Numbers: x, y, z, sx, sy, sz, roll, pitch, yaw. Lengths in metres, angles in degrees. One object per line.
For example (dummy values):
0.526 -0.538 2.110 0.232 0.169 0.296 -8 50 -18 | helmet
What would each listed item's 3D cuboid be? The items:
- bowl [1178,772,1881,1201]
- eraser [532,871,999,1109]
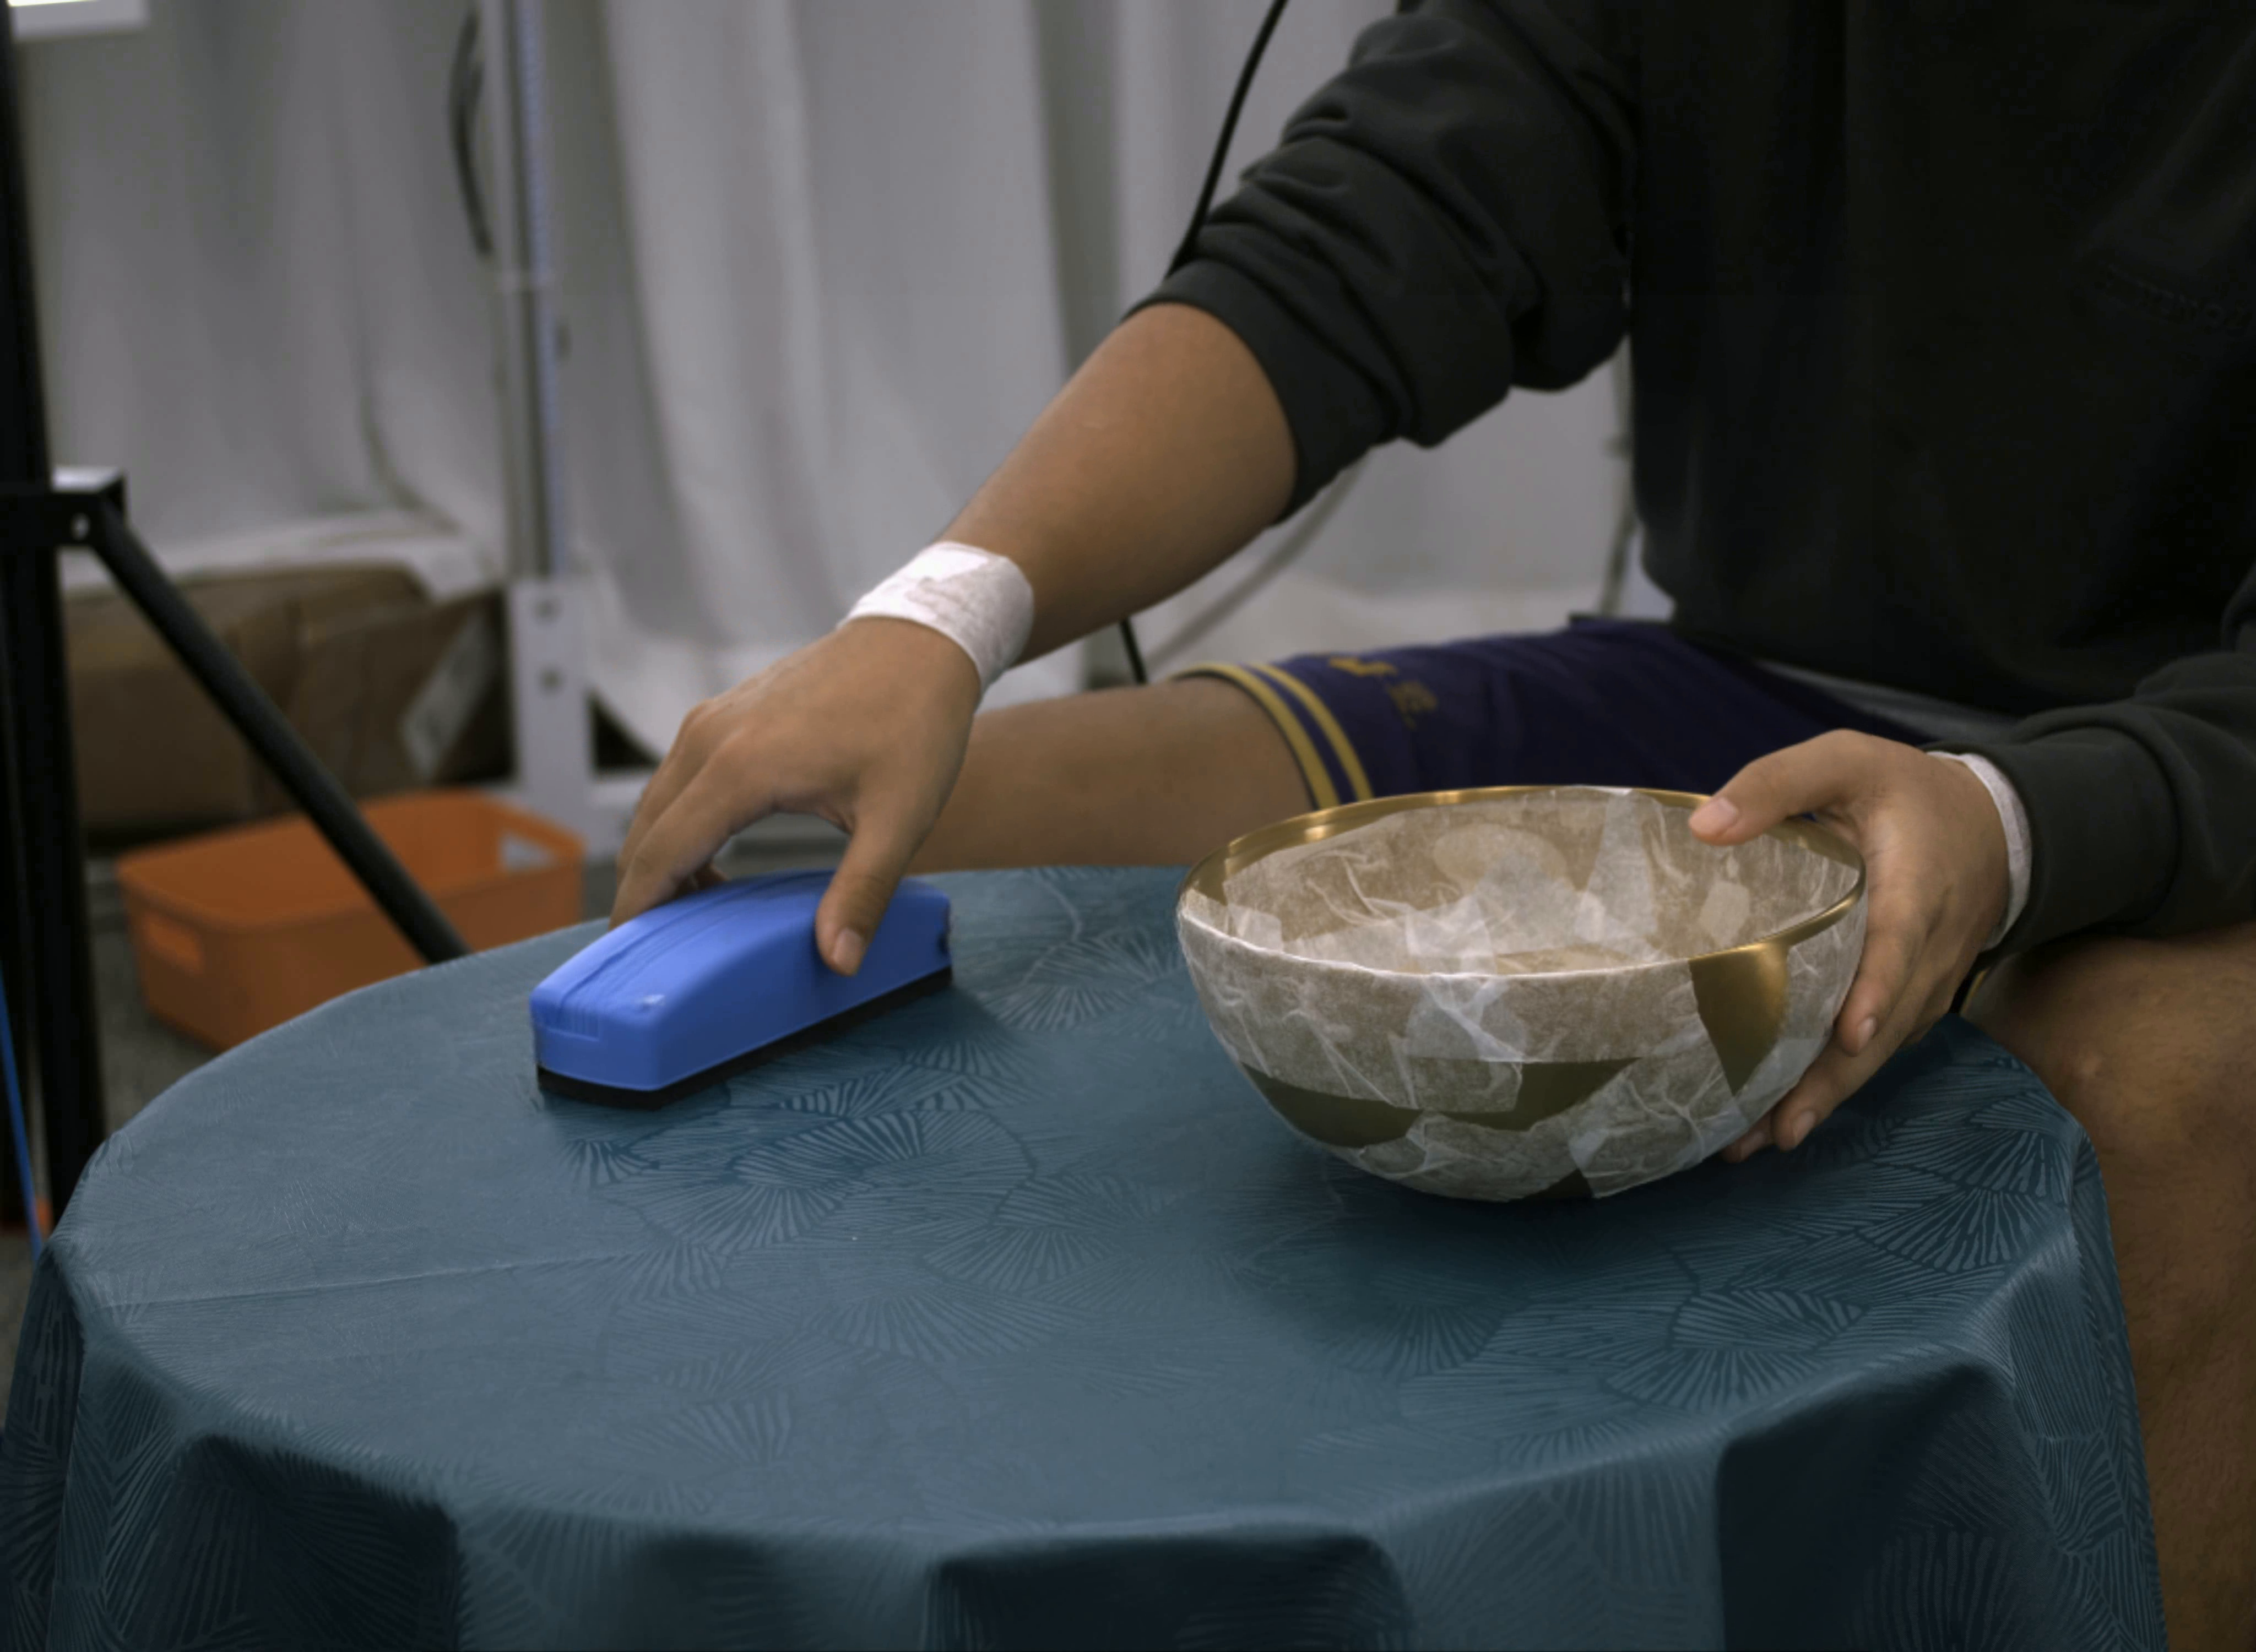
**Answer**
0.120 0.055 1.553 0.214 0.094 0.216 -5 15 0 | bowl
-0.115 0.046 1.705 0.158 0.047 0.055 -18 16 -39 | eraser
